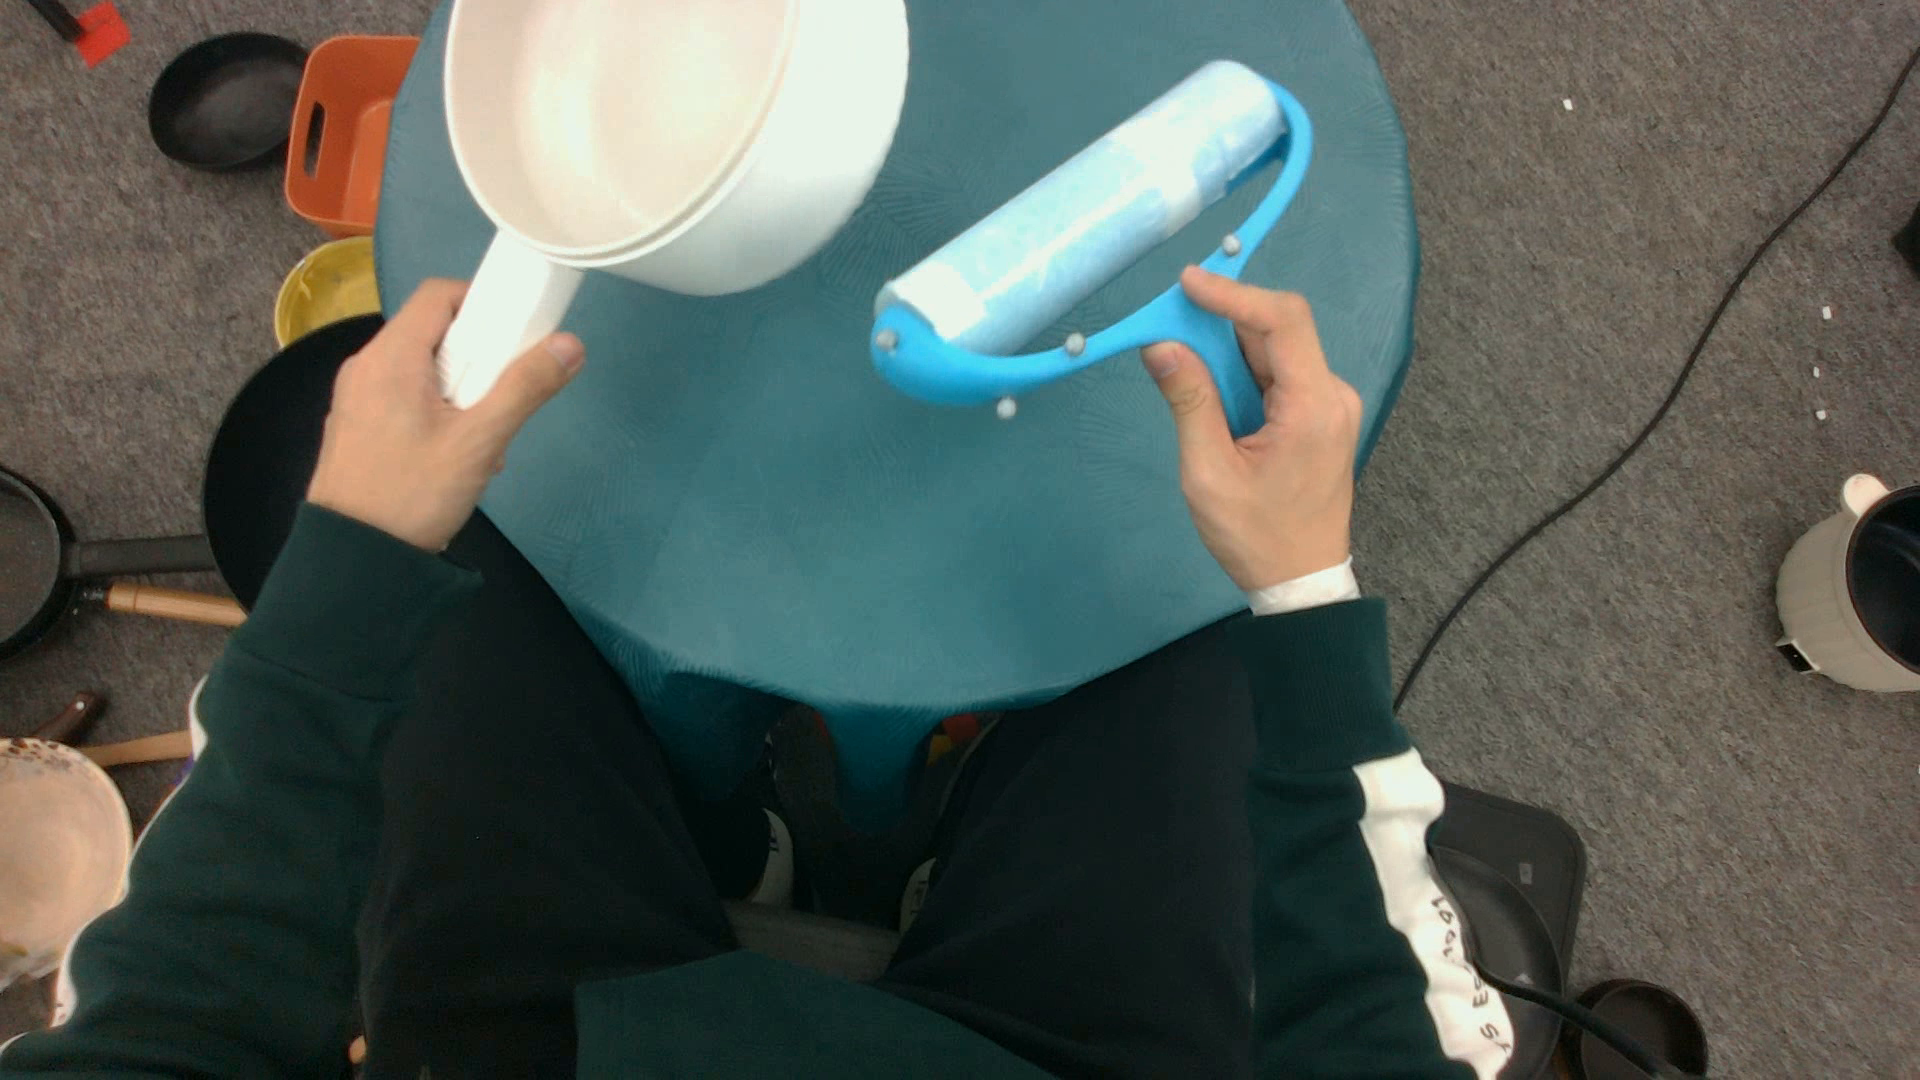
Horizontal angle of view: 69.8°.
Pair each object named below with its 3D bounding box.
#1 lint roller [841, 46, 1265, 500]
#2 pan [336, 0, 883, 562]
[{"bbox_3d":[0.079,-0.096,0.592,0.180,0.067,0.230,47,67,-4],"label":"lint roller"},{"bbox_3d":[-0.166,-0.146,0.619,0.201,0.102,0.354,36,105,27],"label":"pan"}]
